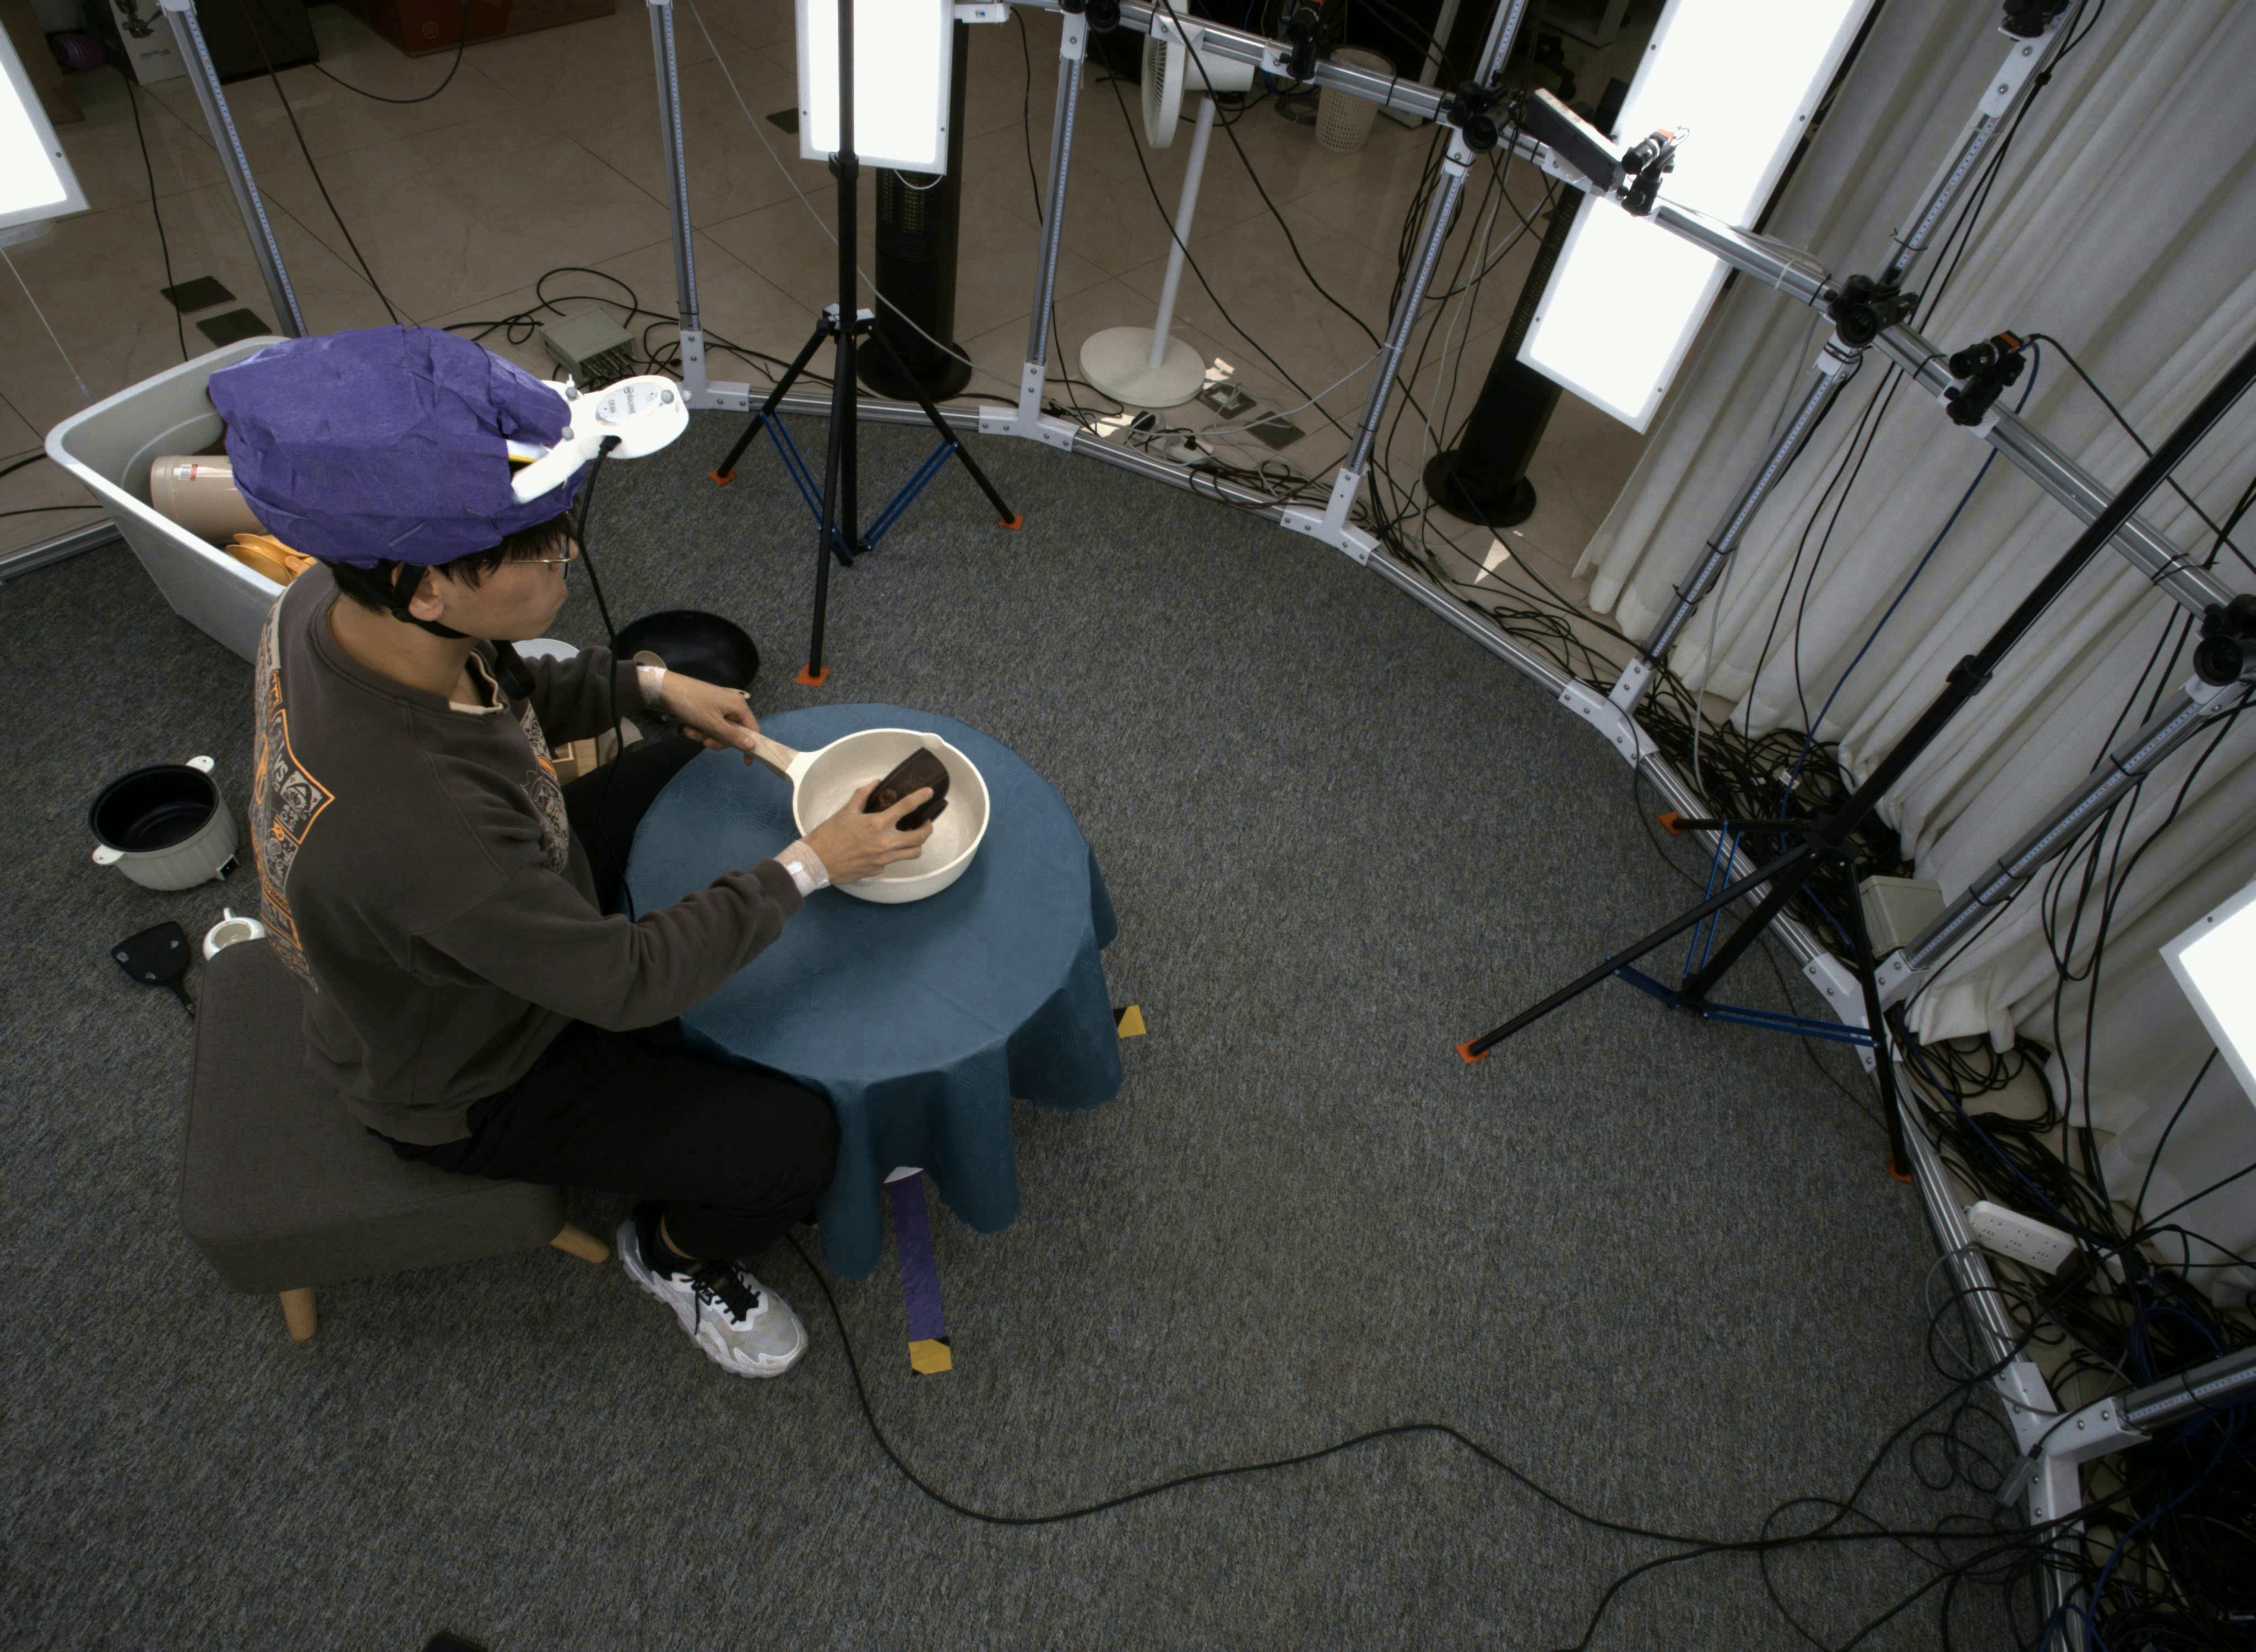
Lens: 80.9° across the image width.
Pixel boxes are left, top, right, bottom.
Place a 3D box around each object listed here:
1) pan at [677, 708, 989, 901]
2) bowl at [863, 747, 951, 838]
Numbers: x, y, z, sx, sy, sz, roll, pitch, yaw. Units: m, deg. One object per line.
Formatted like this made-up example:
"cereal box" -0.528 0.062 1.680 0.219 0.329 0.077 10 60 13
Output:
"pan" -0.394 -0.048 1.718 0.430 0.104 0.261 21 54 3
"bowl" -0.269 -0.034 1.639 0.070 0.118 0.118 43 55 1
